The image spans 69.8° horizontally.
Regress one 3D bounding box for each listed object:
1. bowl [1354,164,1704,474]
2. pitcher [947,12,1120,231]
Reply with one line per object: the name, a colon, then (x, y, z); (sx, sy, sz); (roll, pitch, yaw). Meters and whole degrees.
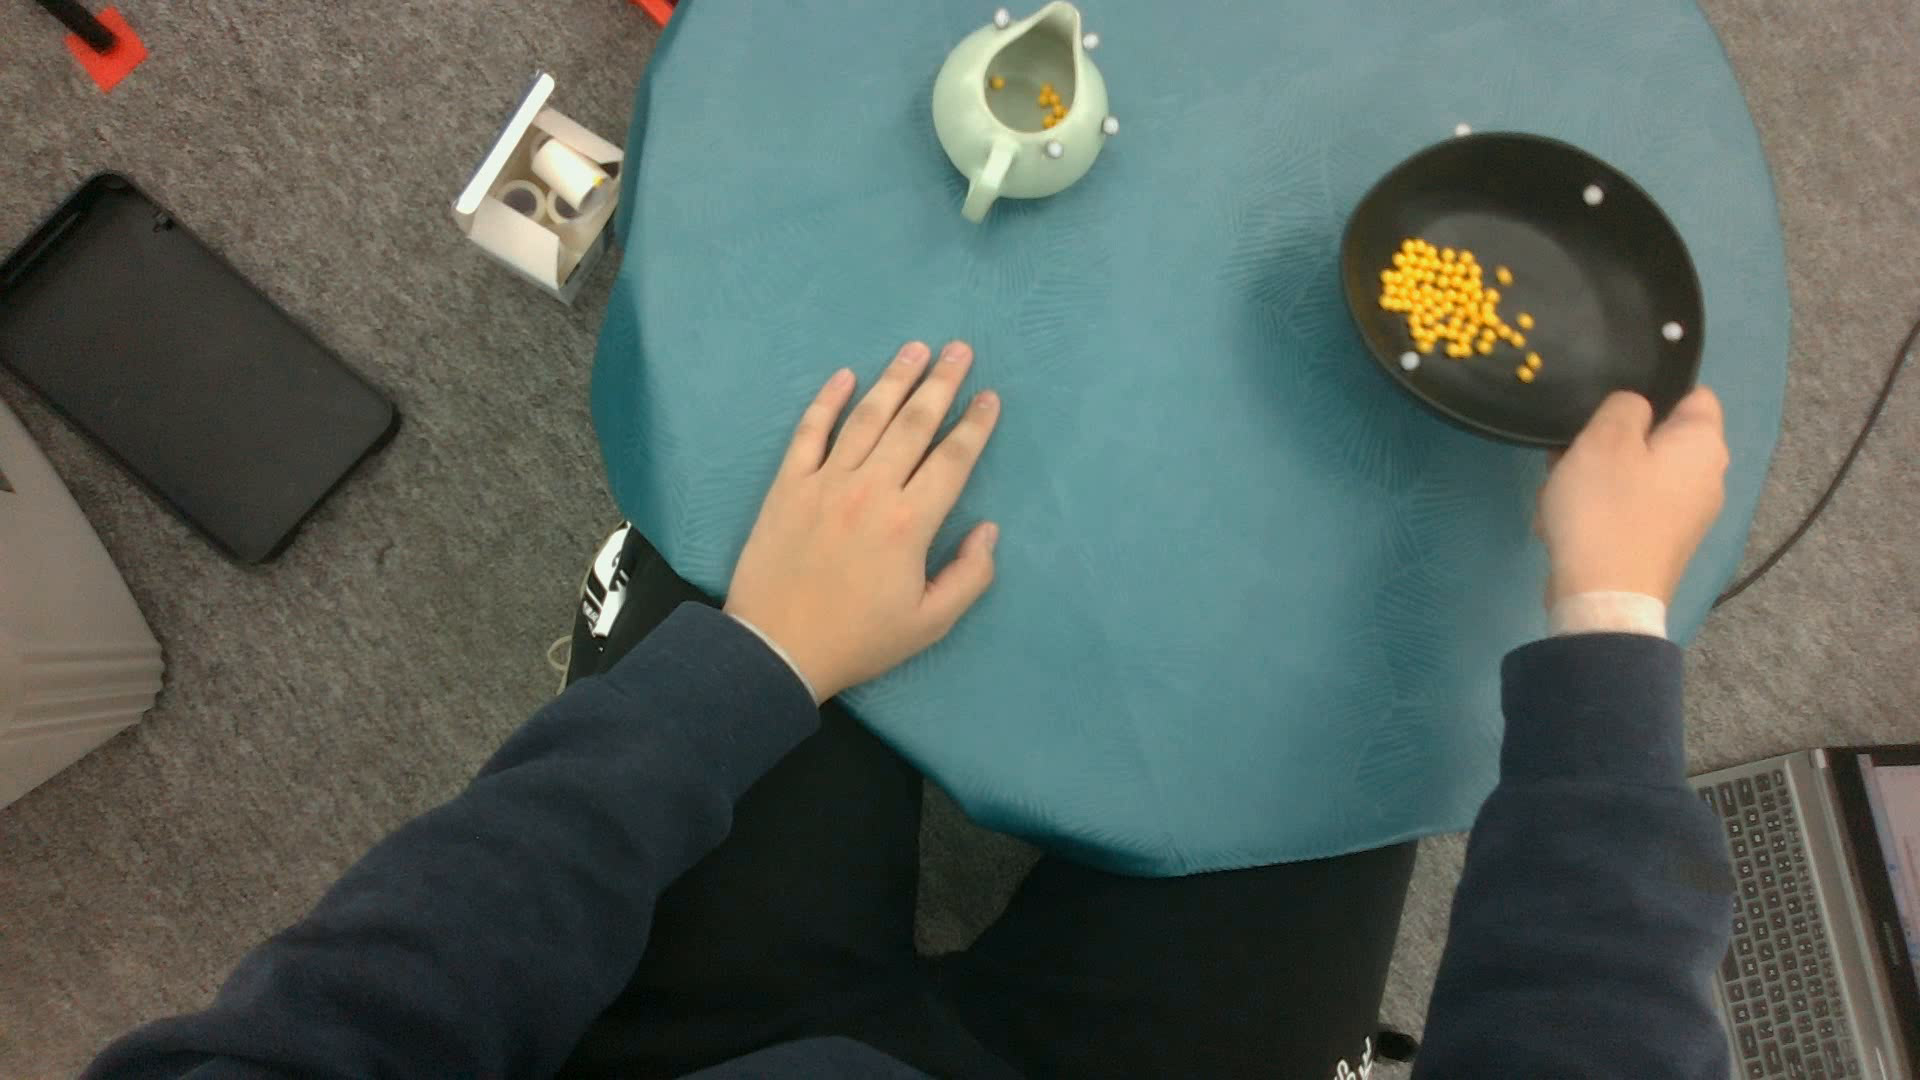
bowl: (0.268, -0.100, 0.664); (0.170, 0.066, 0.137); (30, 86, 7)
pitcher: (0.033, -0.199, 0.672); (0.086, 0.060, 0.108); (22, 85, -2)
